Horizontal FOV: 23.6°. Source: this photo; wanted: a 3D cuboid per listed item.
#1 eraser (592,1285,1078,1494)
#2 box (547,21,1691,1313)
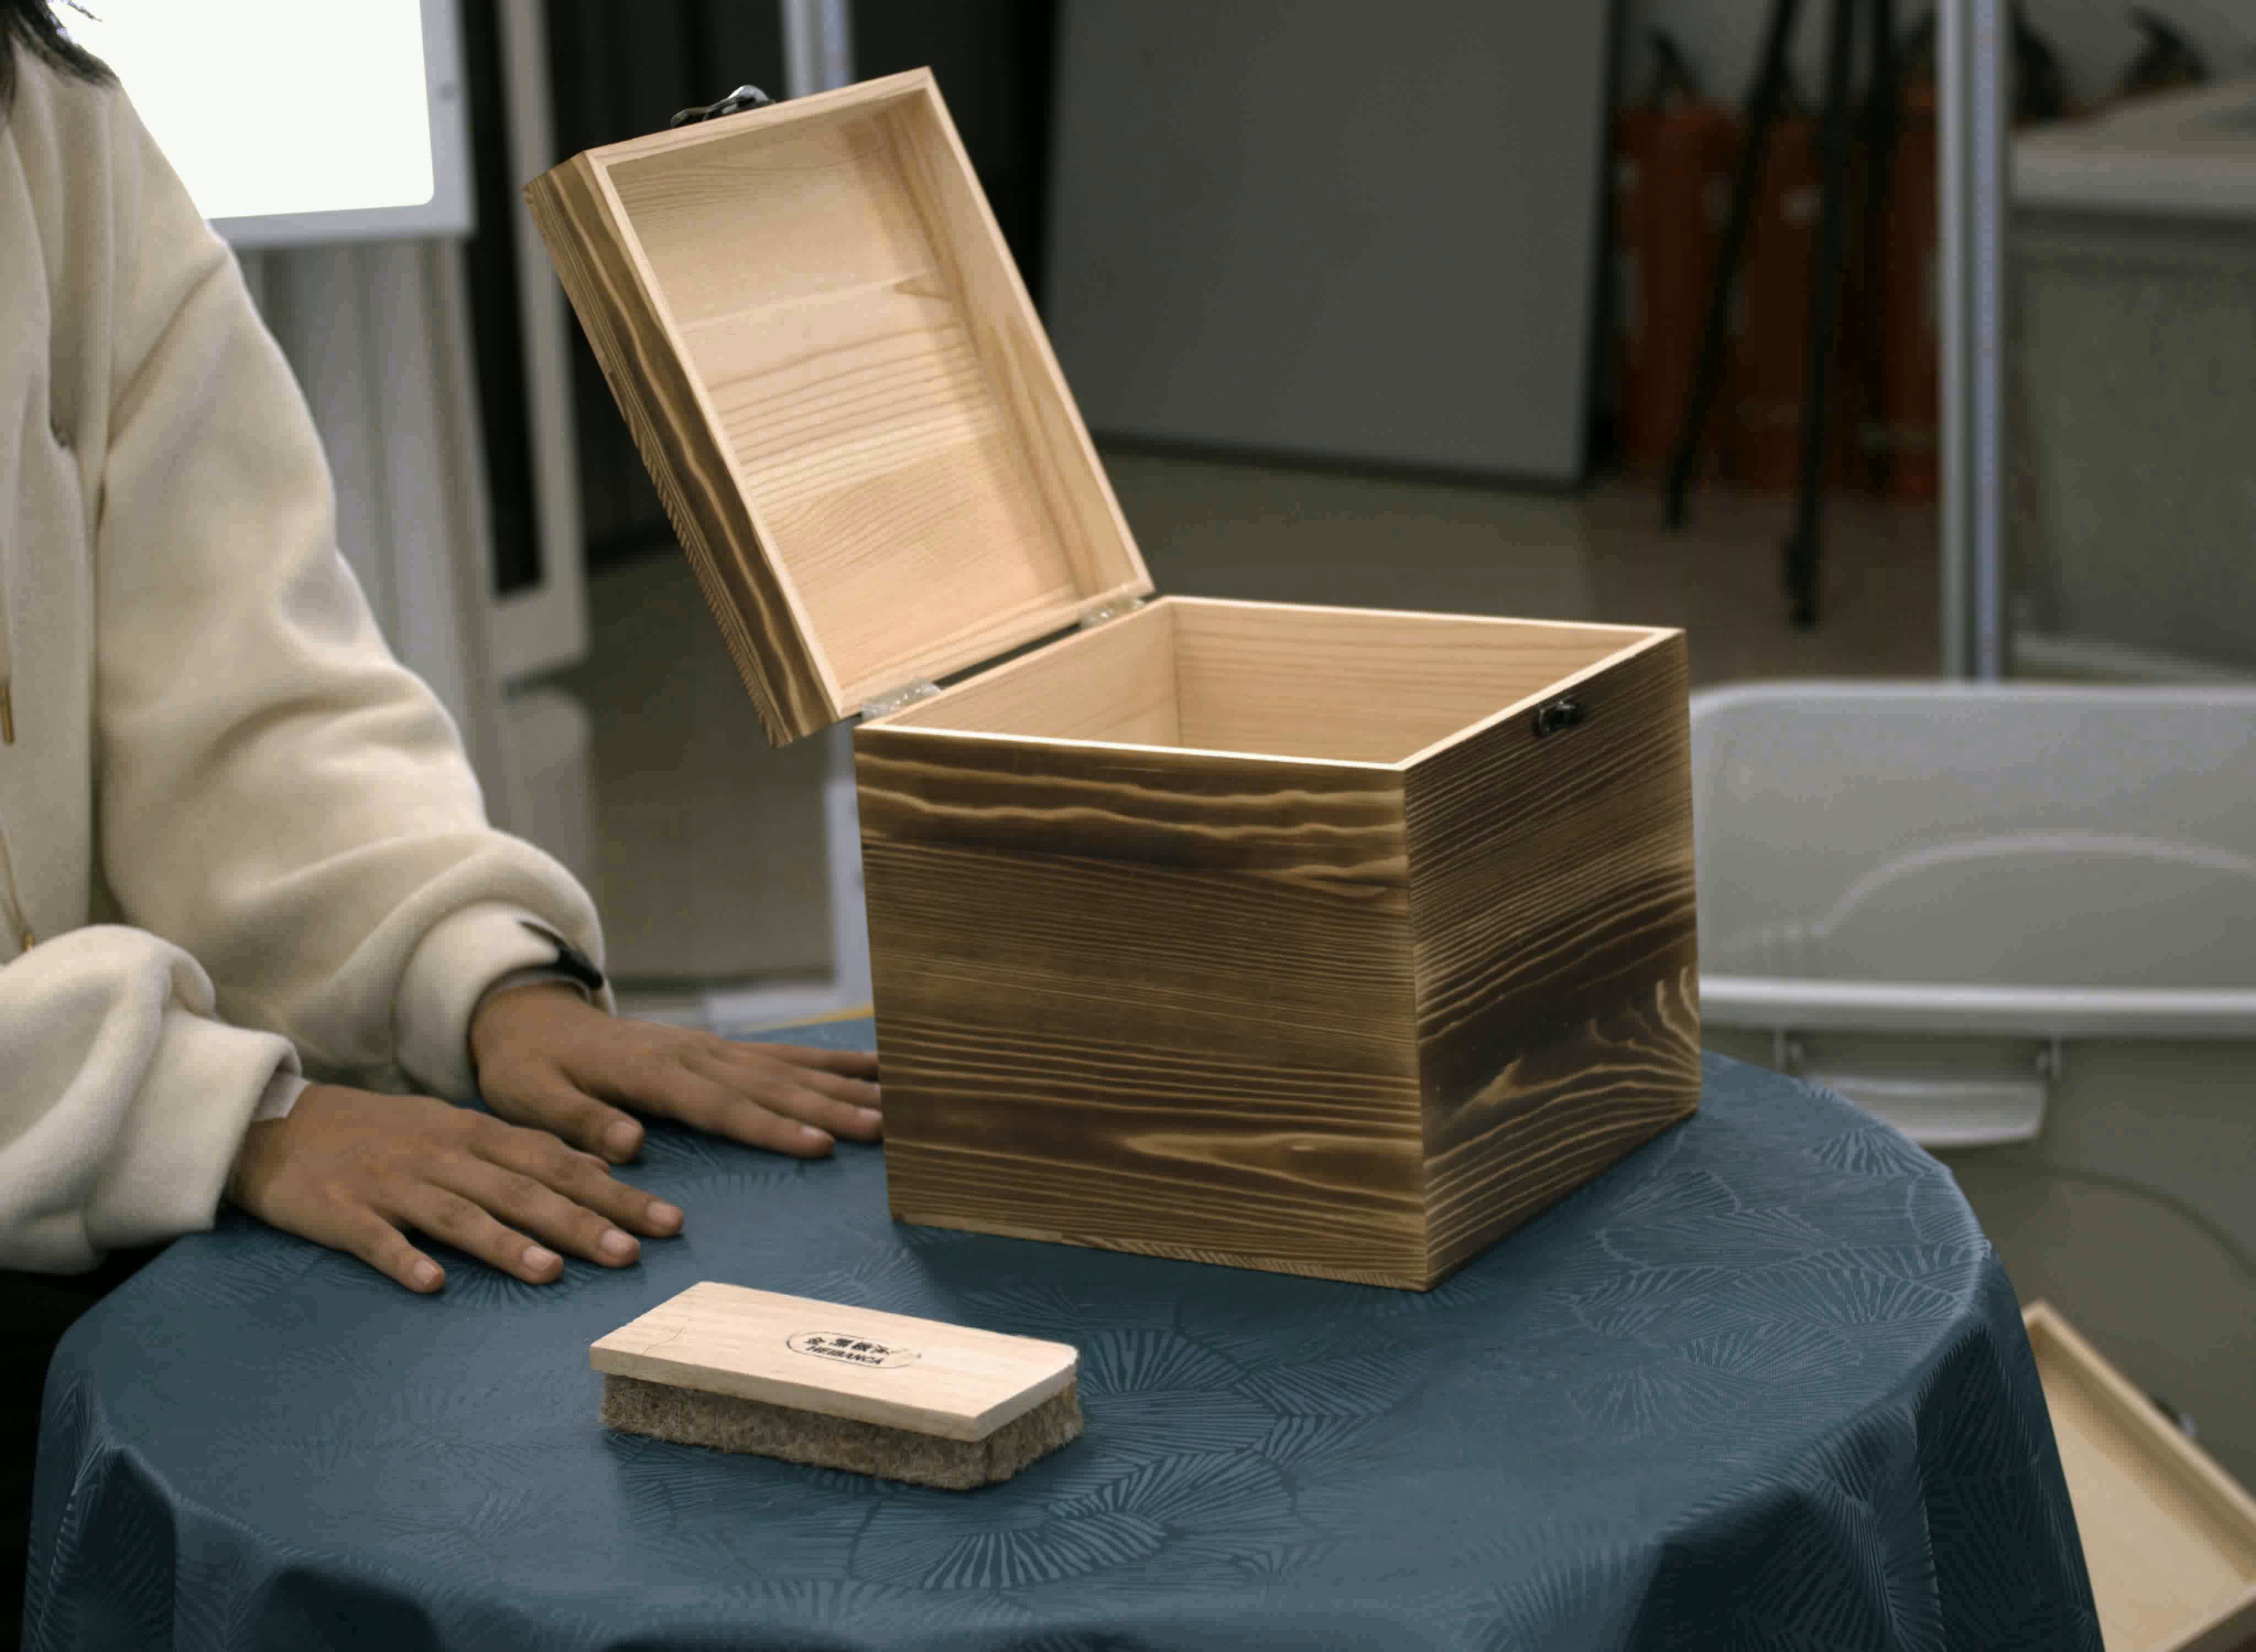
[{"bbox_3d":[-0.084,0.164,1.563,0.140,0.029,0.056,5,20,36],"label":"eraser"},{"bbox_3d":[0.002,-0.067,1.766,0.323,0.379,0.205,4,16,31],"label":"box"}]
